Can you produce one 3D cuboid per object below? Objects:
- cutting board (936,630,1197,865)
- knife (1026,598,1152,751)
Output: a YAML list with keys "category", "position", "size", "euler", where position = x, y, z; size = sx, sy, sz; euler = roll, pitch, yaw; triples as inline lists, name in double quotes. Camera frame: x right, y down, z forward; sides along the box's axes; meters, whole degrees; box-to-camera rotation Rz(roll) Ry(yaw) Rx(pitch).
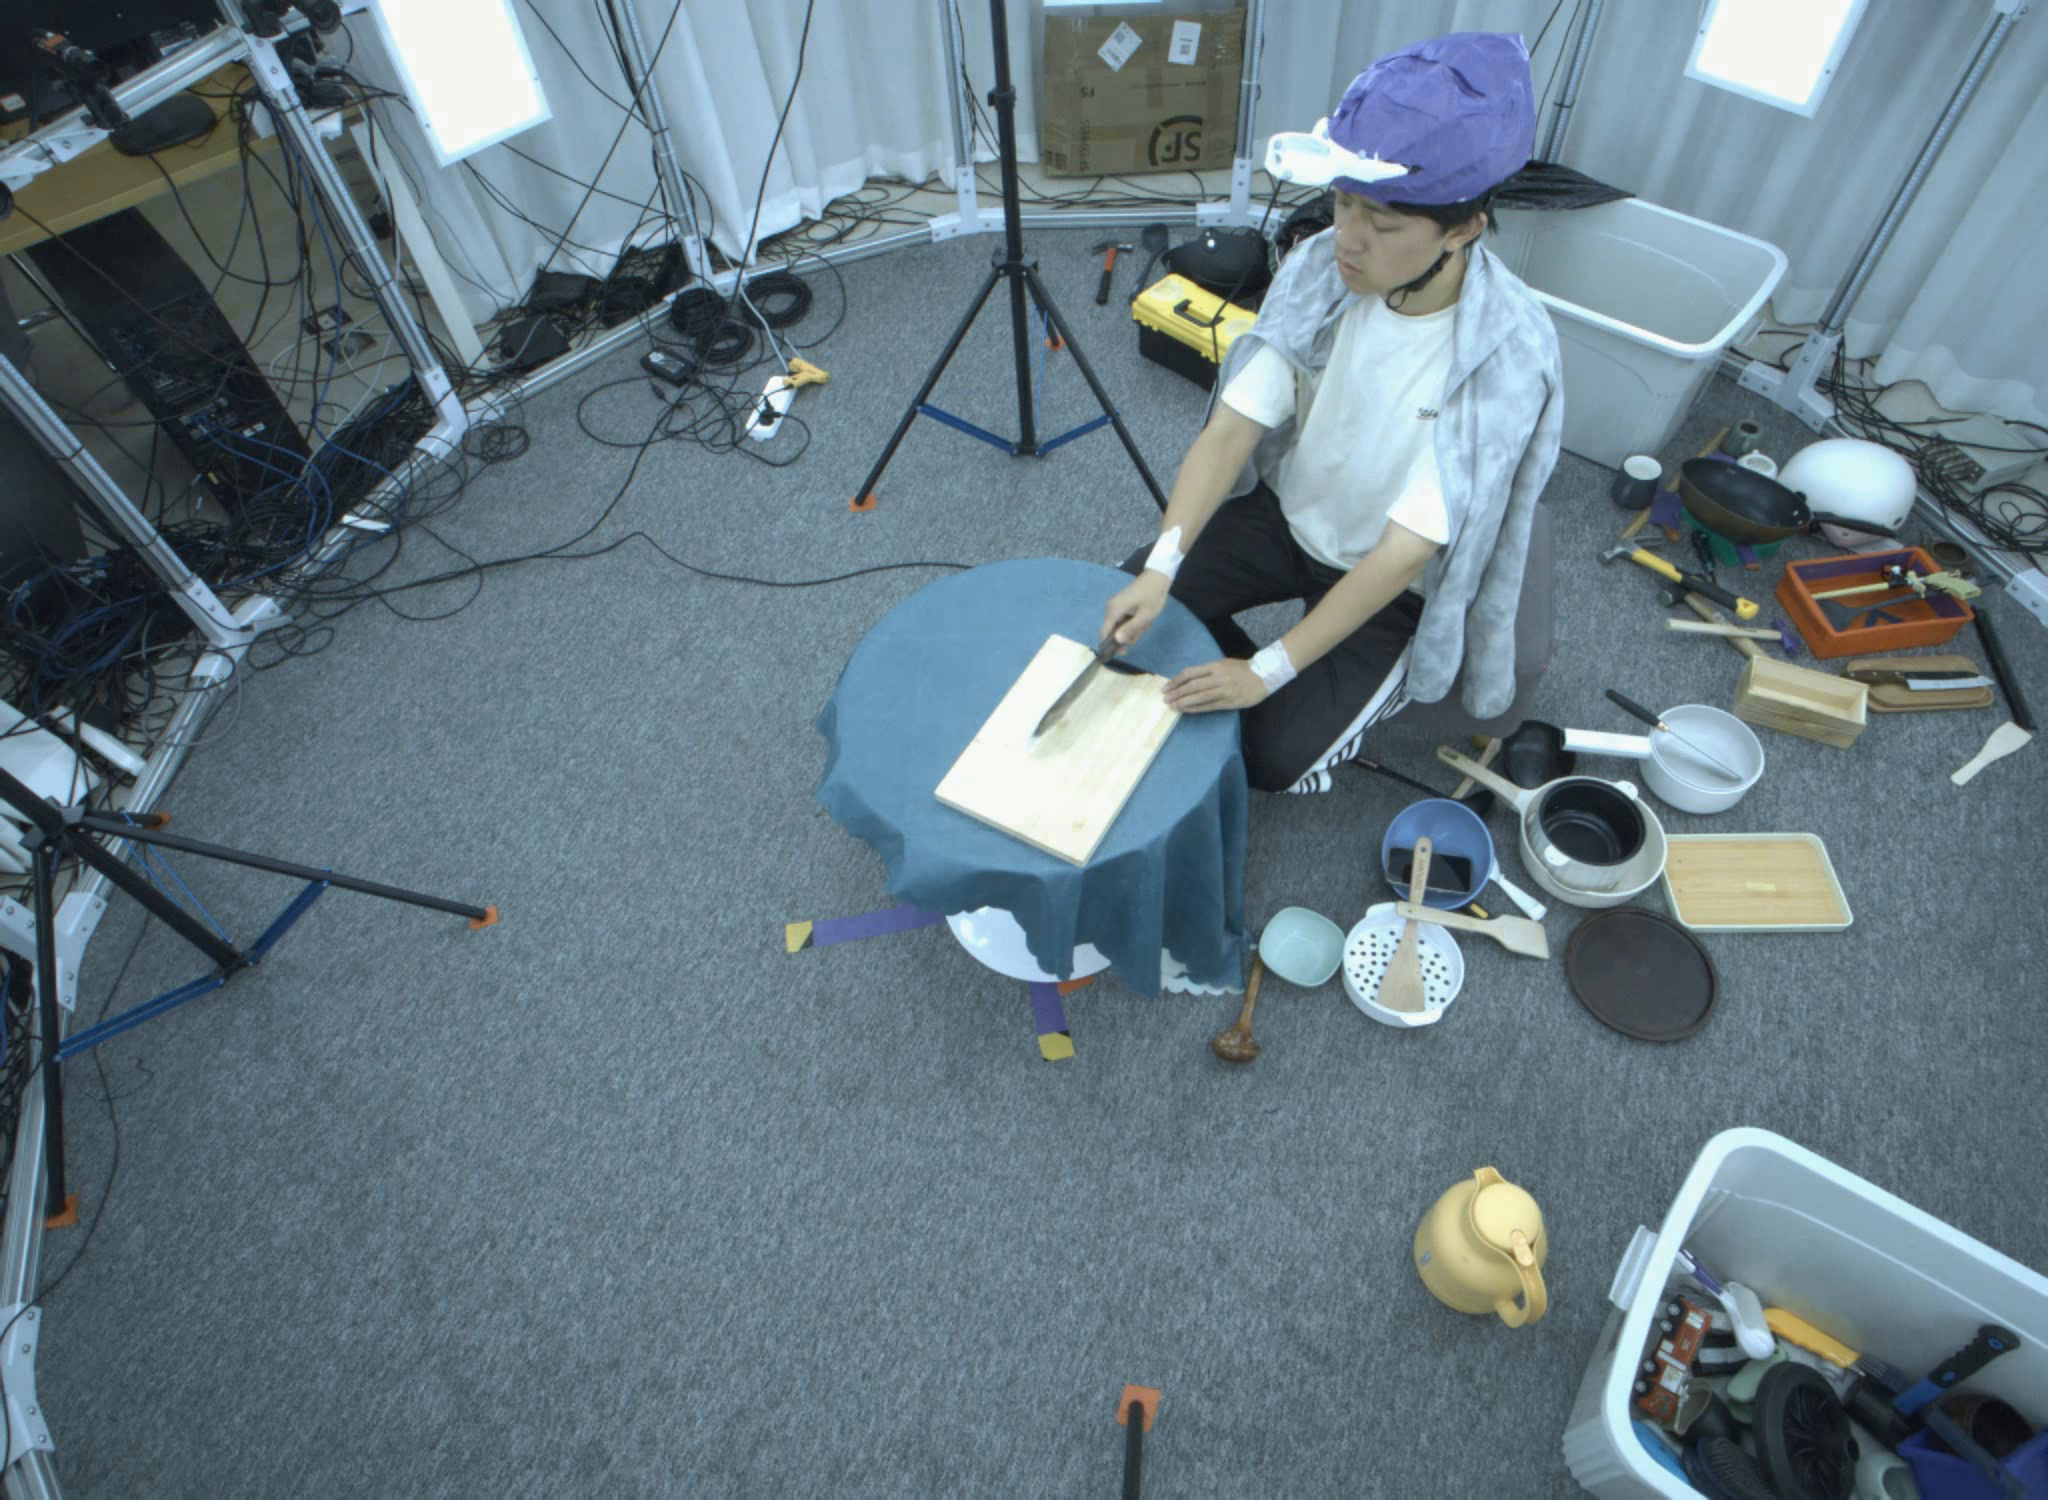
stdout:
- category: "cutting board"
  position: [0.065, -0.014, 1.788]
  size: [0.247, 0.024, 0.349]
  euler: [24, 59, 17]
- category: "knife"
  position: [0.095, -0.112, 1.798]
  size: [0.023, 0.068, 0.301]
  euler: [34, 65, 16]
